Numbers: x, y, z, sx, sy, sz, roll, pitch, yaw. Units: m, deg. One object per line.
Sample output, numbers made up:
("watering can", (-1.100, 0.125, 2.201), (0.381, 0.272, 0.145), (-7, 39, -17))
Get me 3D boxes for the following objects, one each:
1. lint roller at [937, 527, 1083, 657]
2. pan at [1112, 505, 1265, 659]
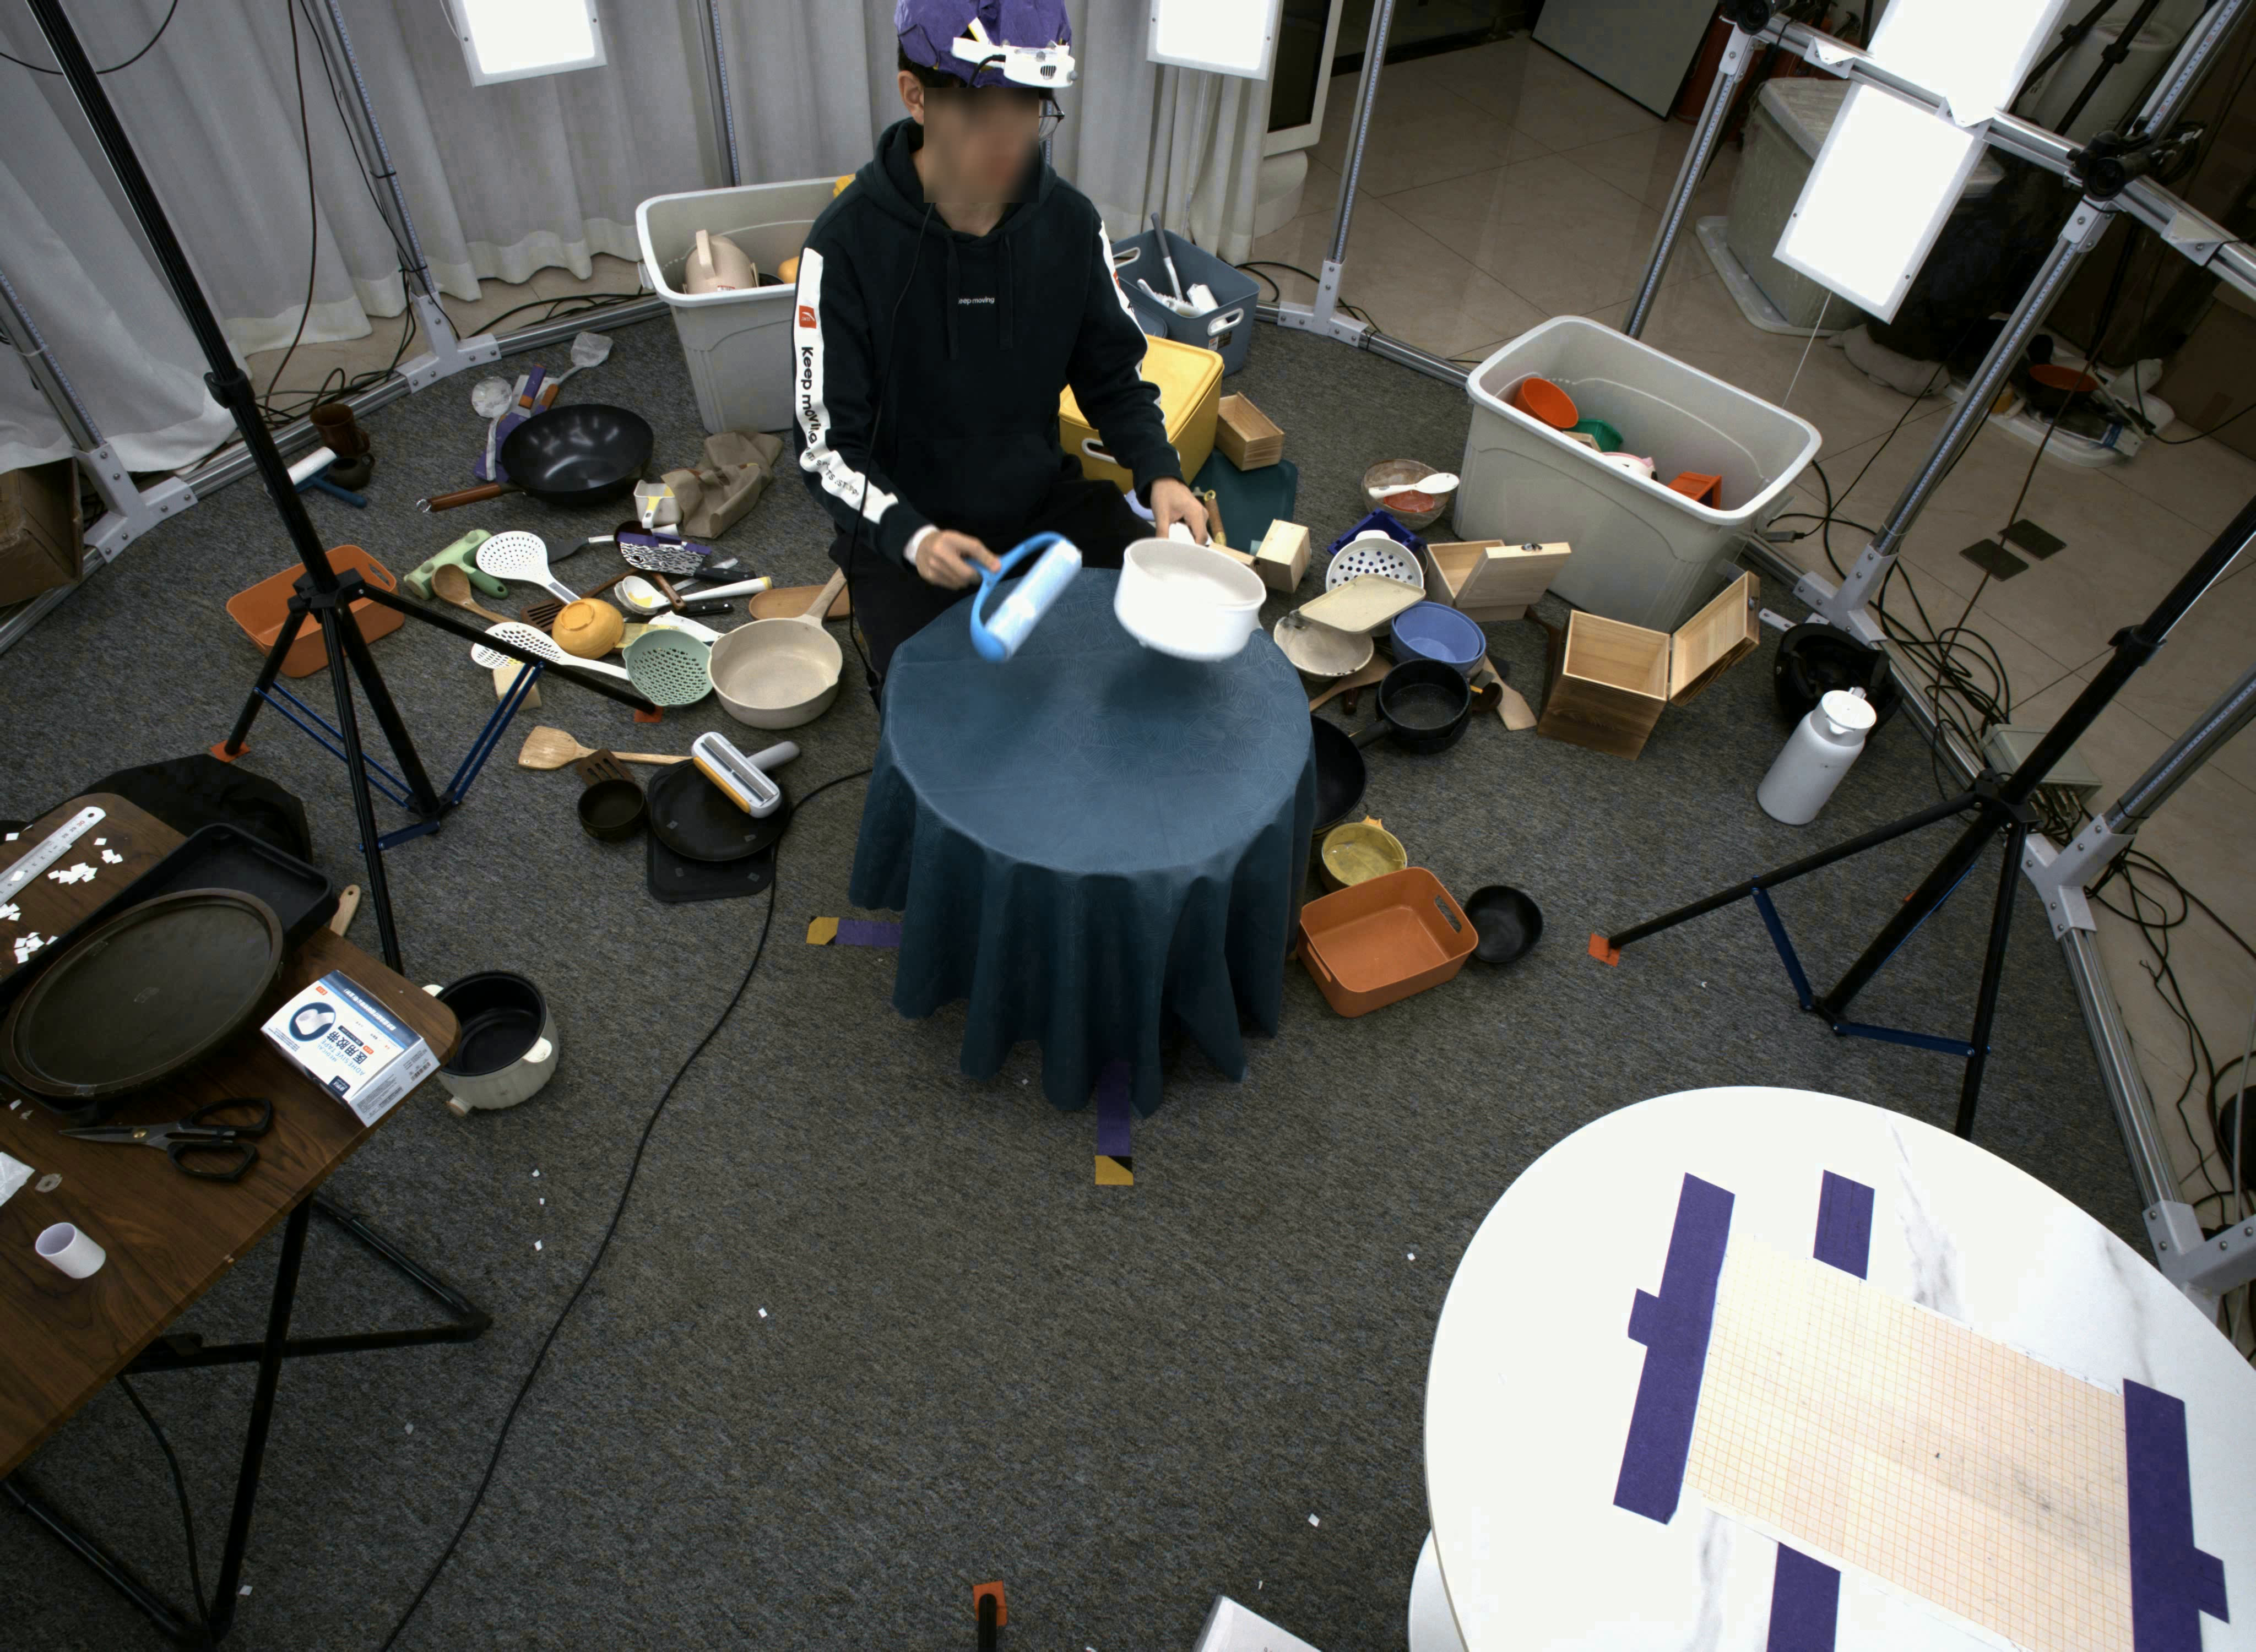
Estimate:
("lint roller", (-0.182, -0.333, 1.740), (0.181, 0.066, 0.233), (21, 57, 13))
("pan", (0.073, -0.352, 1.832), (0.200, 0.100, 0.363), (10, 31, -11))
